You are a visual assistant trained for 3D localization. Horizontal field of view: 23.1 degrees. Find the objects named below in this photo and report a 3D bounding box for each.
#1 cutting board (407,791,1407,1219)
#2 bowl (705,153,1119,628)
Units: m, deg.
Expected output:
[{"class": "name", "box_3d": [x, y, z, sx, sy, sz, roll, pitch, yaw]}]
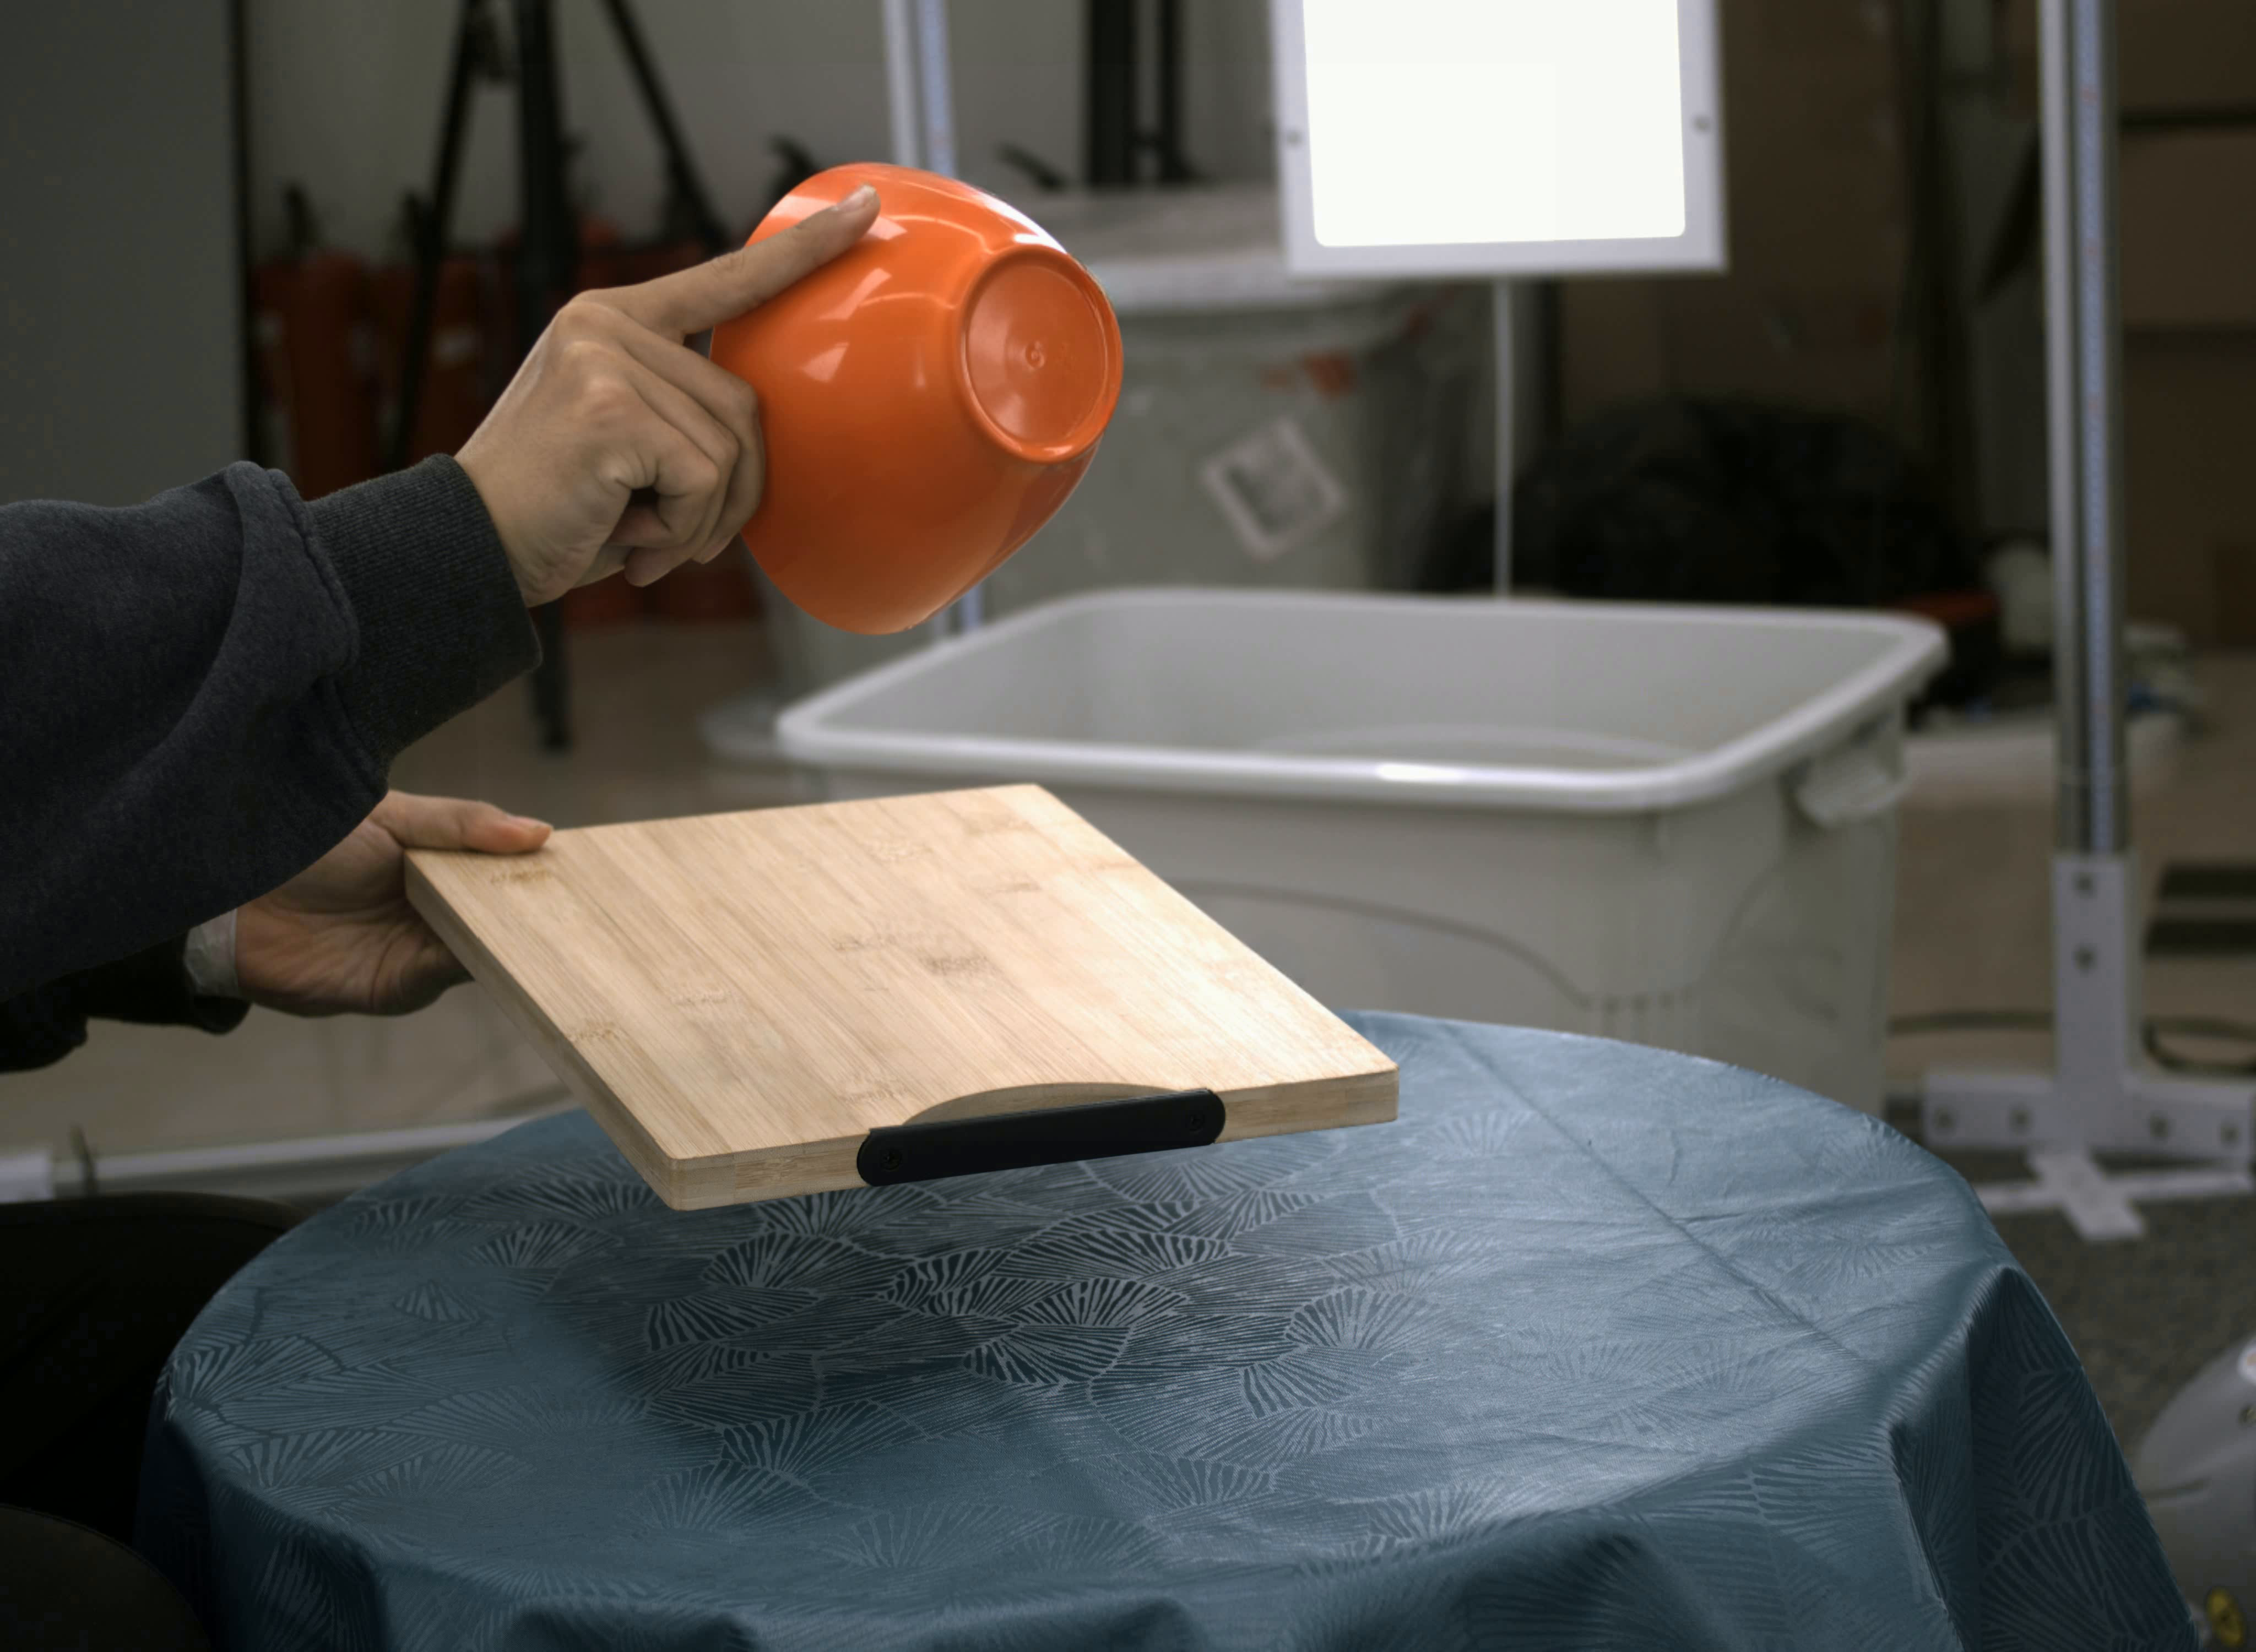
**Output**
[{"class": "cutting board", "box_3d": [-0.083, 0.052, 1.833, 0.246, 0.024, 0.353, -7, 18, -19]}, {"class": "bowl", "box_3d": [-0.052, -0.137, 1.688, 0.144, 0.148, 0.107, -15, 9, -38]}]
